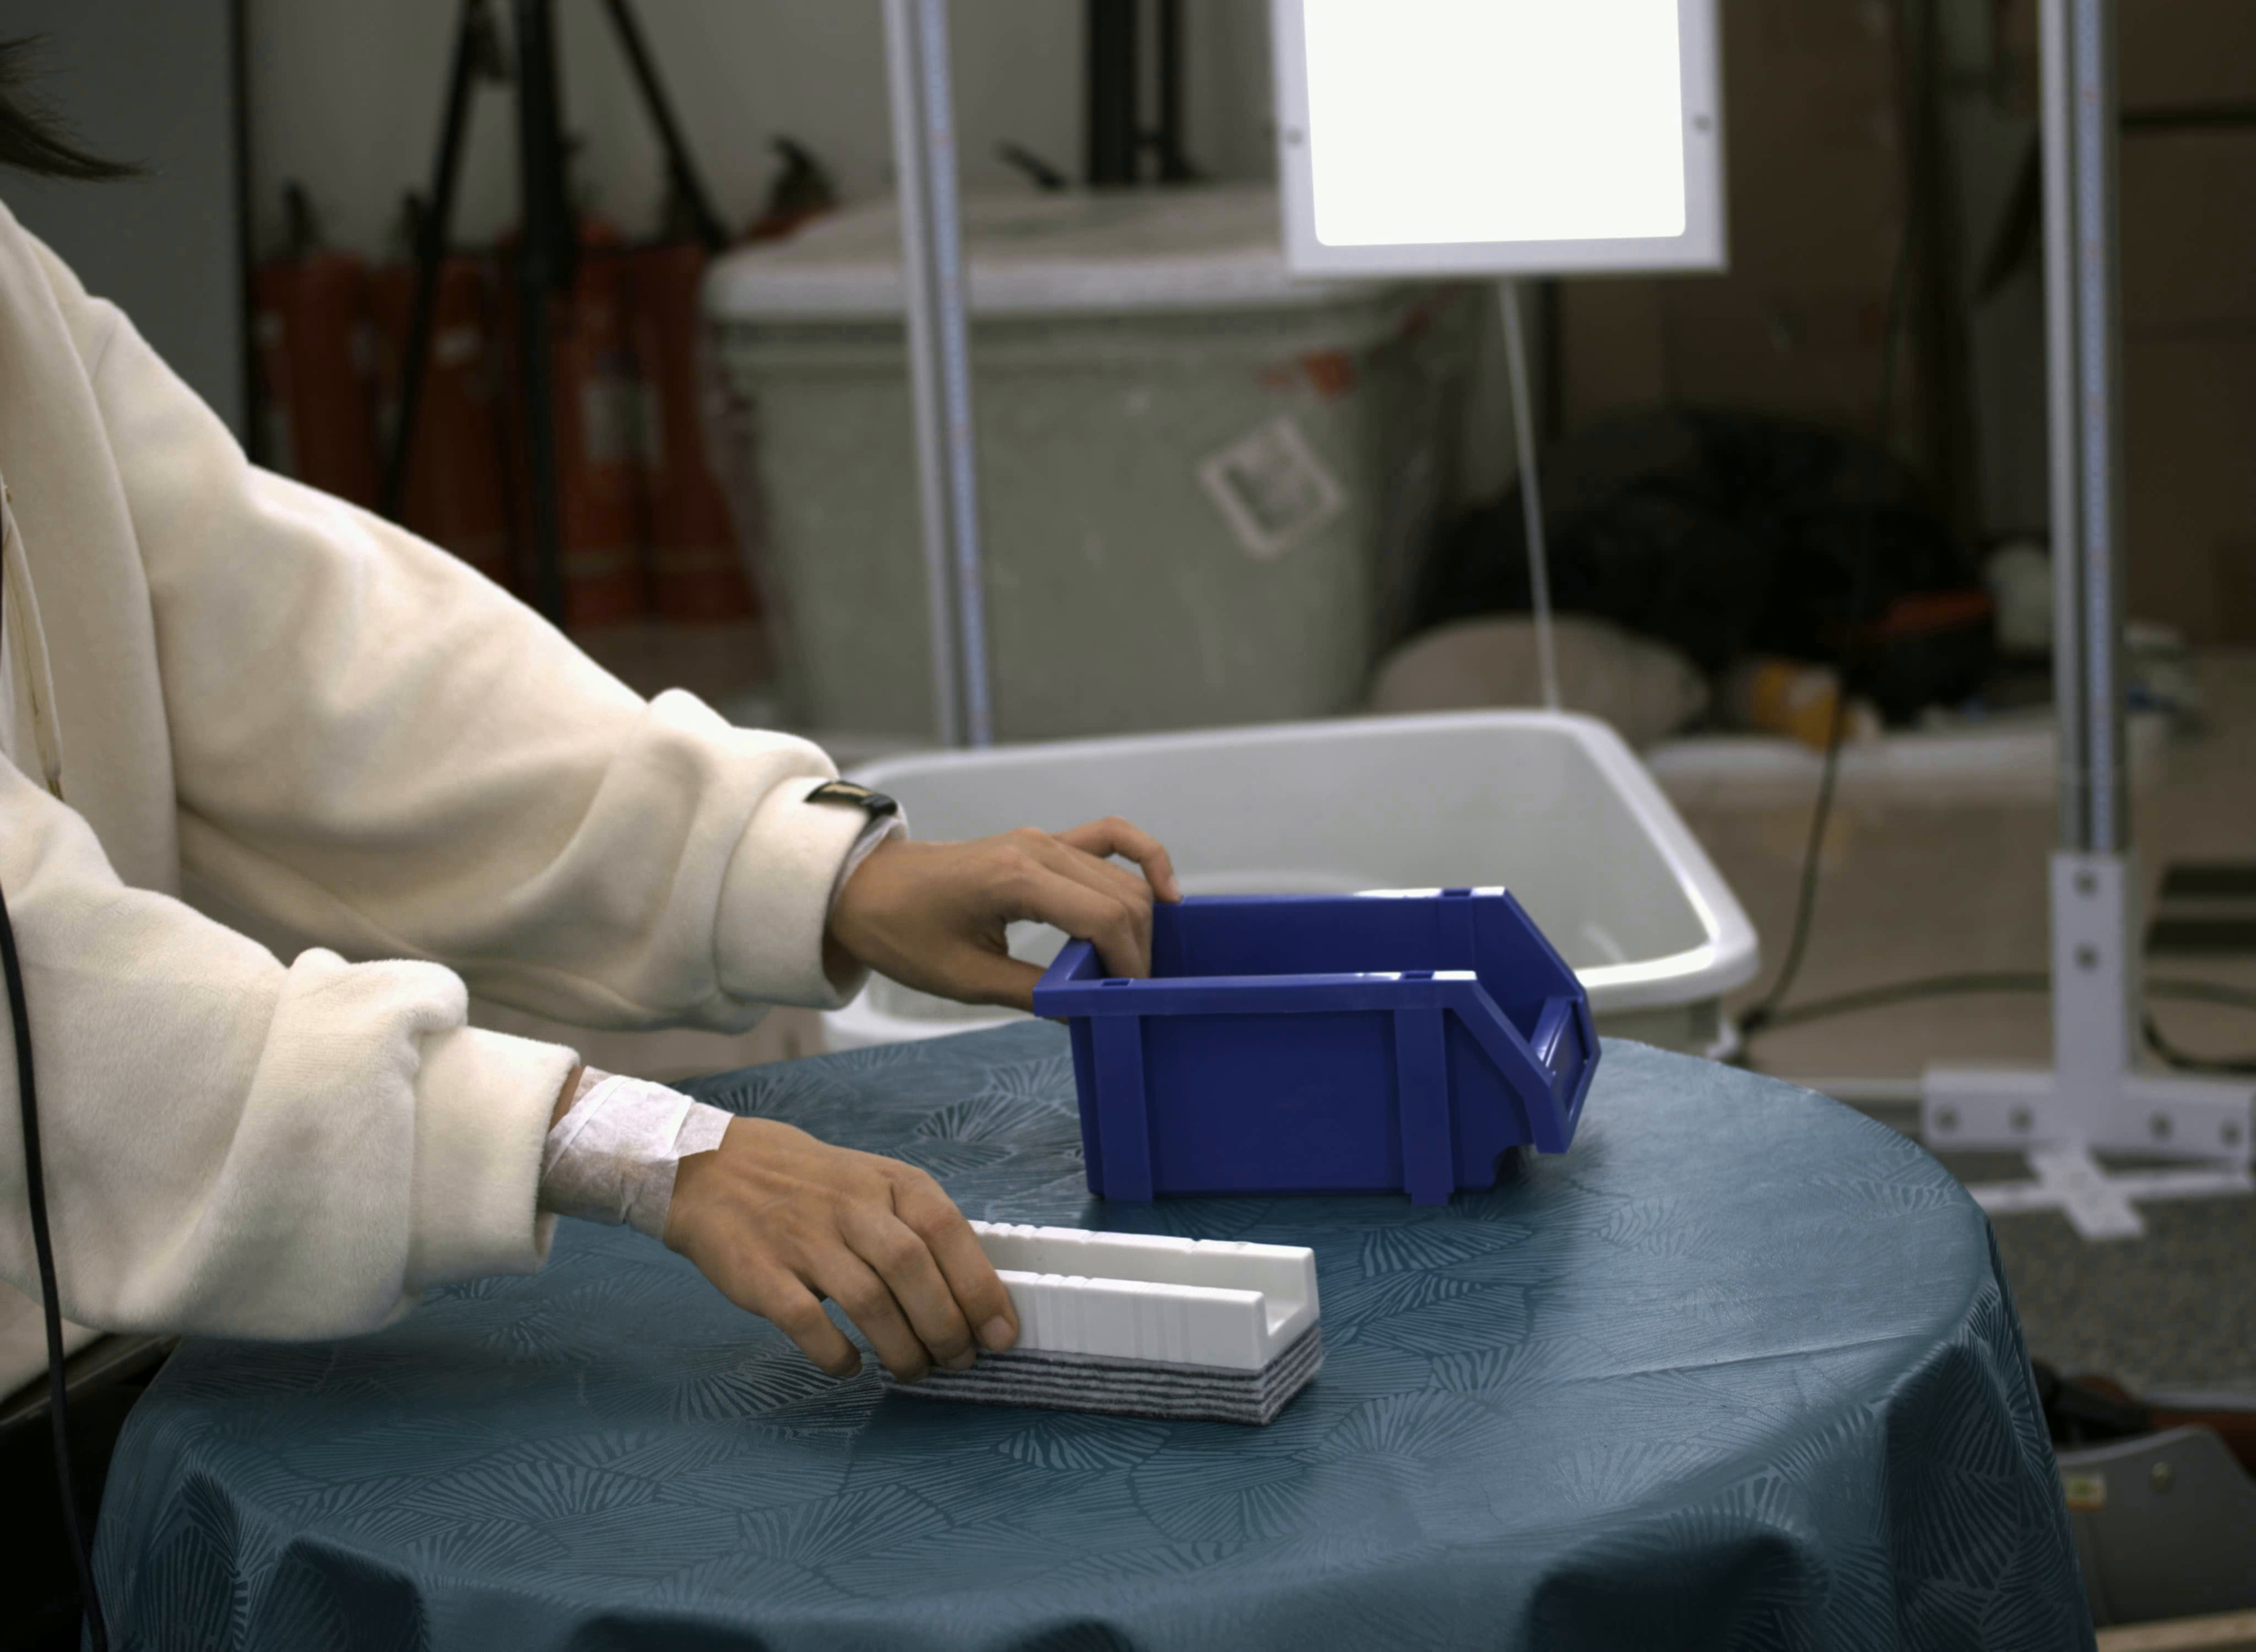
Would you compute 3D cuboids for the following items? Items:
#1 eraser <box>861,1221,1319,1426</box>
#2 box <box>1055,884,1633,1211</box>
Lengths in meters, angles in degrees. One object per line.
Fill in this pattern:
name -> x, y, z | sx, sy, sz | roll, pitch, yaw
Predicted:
eraser -> -0.011, 0.152, 1.697 | 0.136, 0.047, 0.049 | 3, 19, 24
box -> 0.078, 0.075, 1.908 | 0.181, 0.082, 0.123 | -3, 14, 15
